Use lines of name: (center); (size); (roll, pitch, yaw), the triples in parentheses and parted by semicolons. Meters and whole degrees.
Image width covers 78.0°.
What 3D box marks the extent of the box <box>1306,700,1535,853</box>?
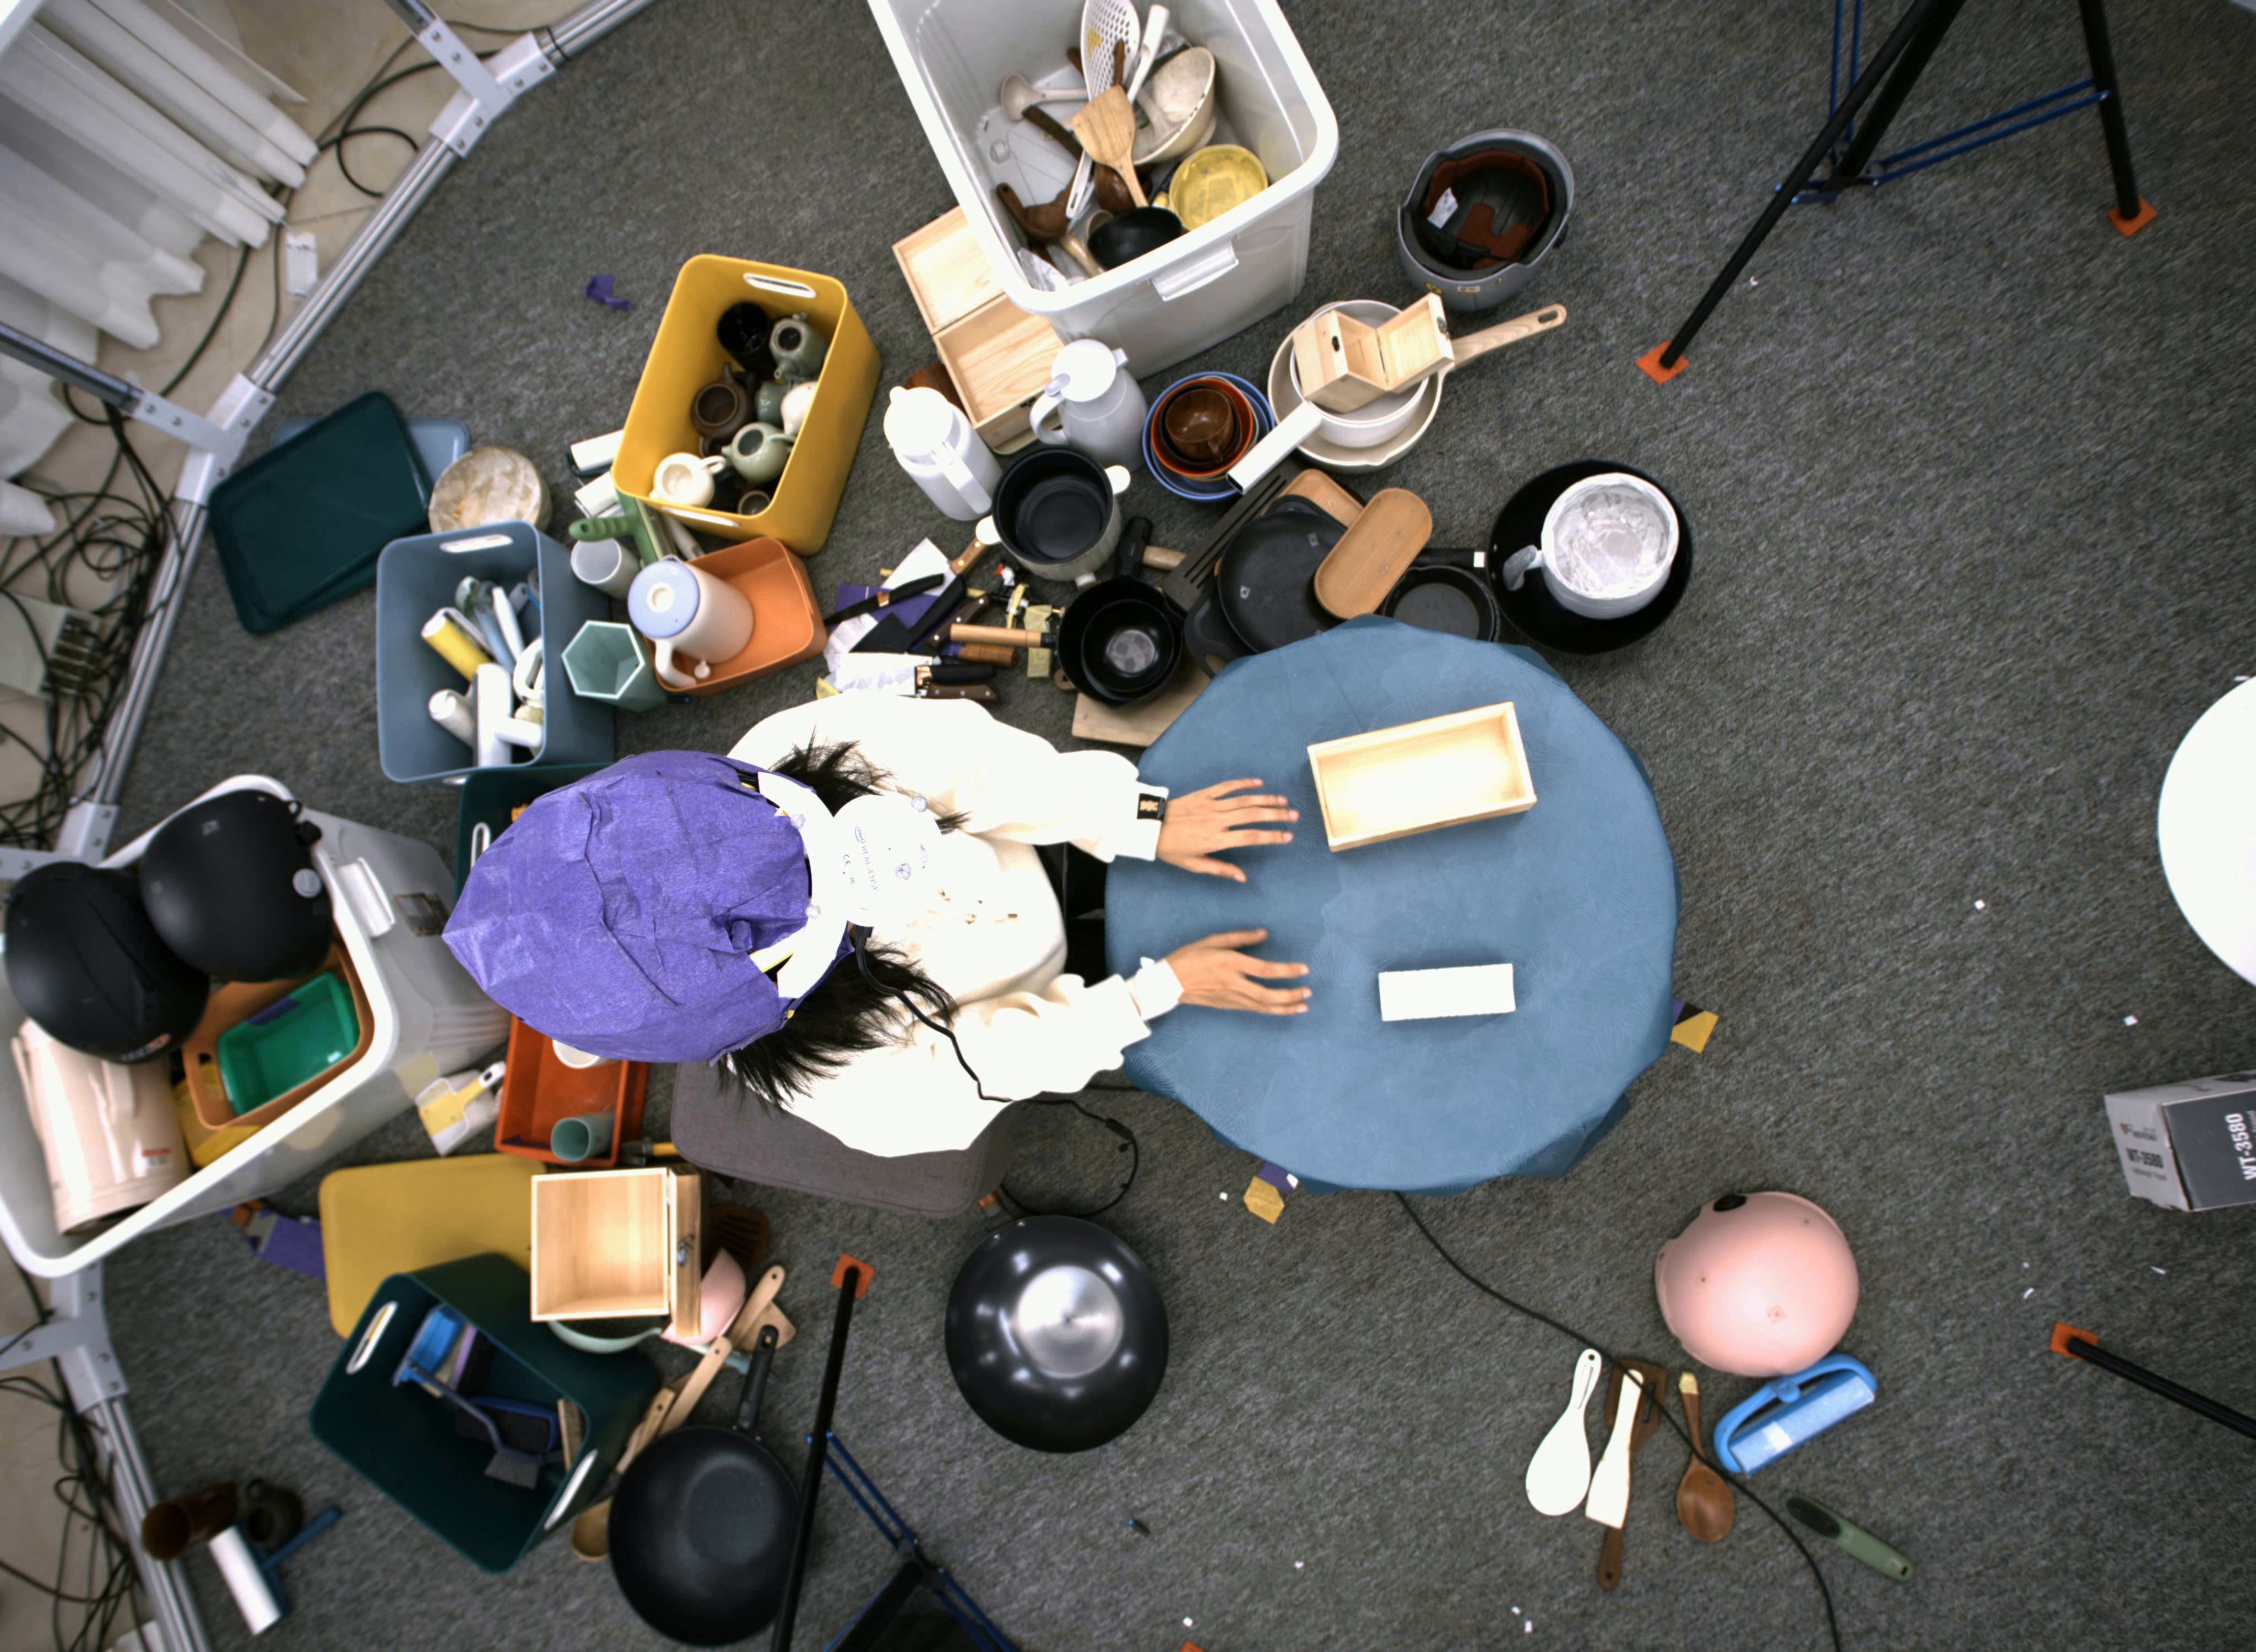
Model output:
box: (0.299, -0.050, 1.421); (0.212, 0.080, 0.107); (-13, 83, 9)

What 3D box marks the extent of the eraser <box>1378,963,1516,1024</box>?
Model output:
eraser: (0.327, 0.170, 1.420); (0.135, 0.046, 0.049); (-7, 86, 8)
